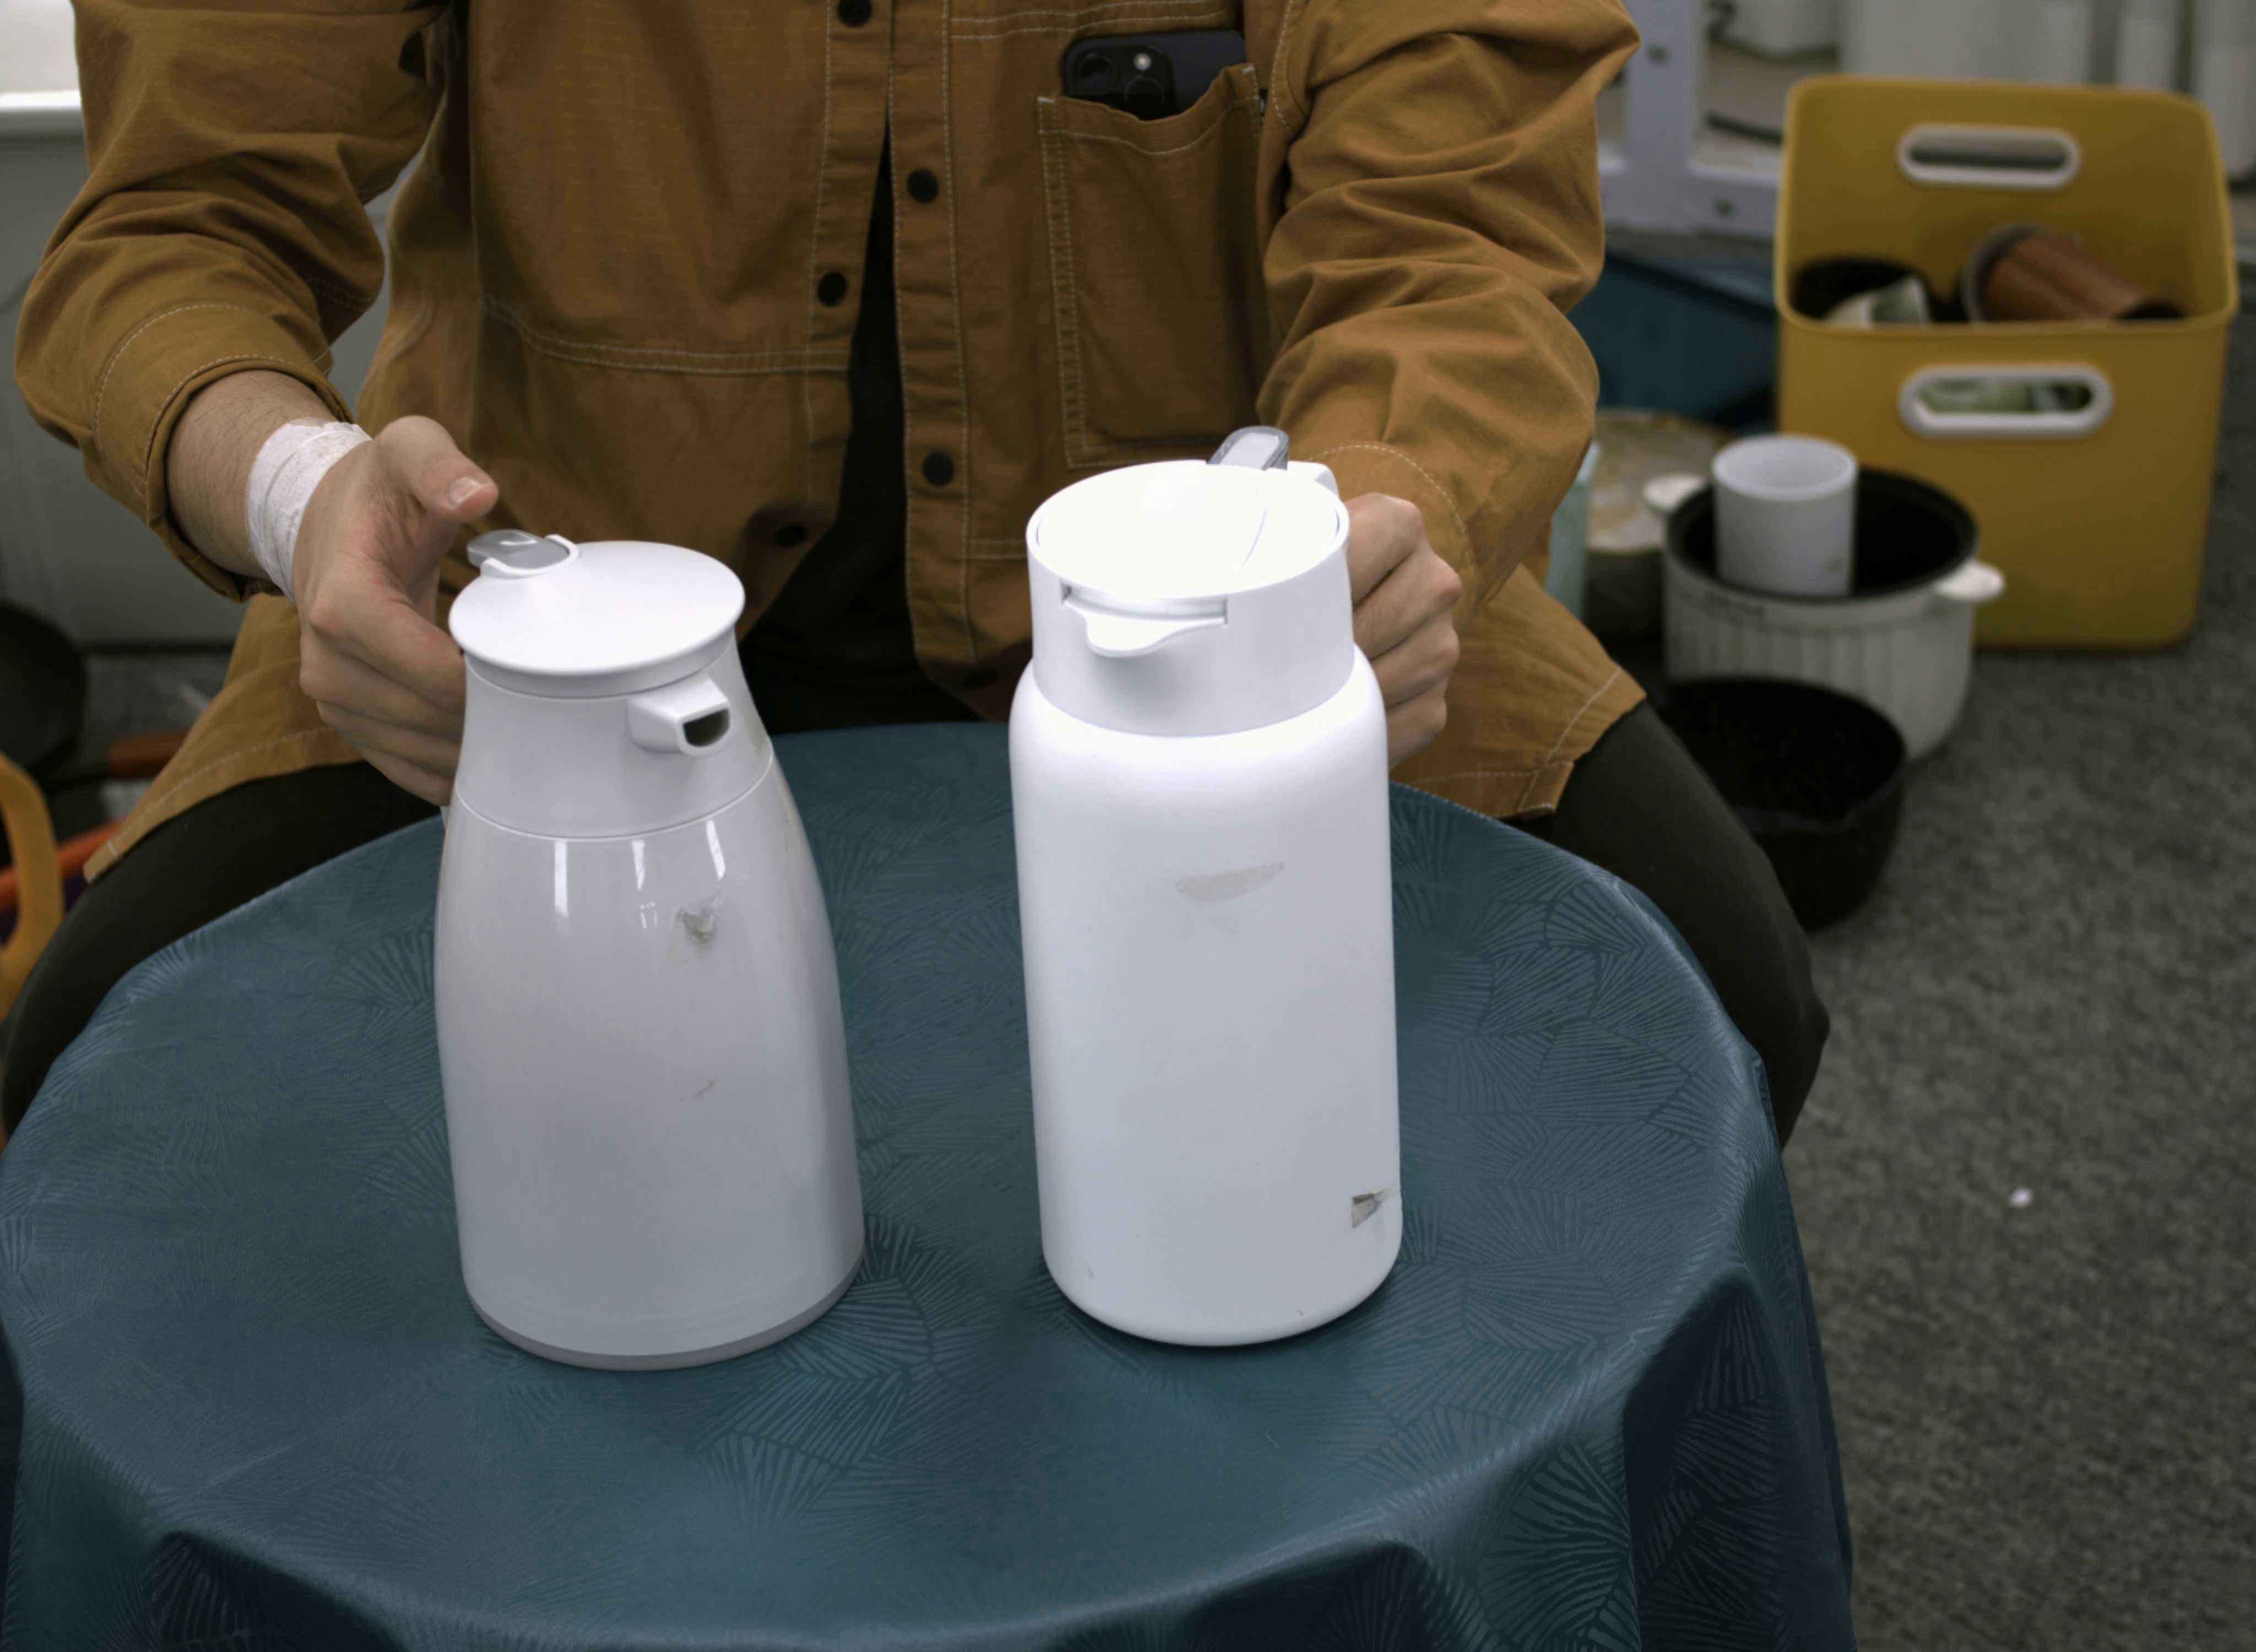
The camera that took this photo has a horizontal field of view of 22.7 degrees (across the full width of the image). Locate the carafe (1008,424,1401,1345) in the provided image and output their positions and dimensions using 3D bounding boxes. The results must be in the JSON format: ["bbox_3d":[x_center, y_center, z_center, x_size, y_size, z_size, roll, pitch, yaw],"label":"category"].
[{"bbox_3d":[0.028,0.015,1.775,0.123,0.266,0.176,4,27,19],"label":"carafe"}]

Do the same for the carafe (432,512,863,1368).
[{"bbox_3d":[-0.169,0.026,1.791,0.133,0.246,0.168,-20,29,-31],"label":"carafe"}]
